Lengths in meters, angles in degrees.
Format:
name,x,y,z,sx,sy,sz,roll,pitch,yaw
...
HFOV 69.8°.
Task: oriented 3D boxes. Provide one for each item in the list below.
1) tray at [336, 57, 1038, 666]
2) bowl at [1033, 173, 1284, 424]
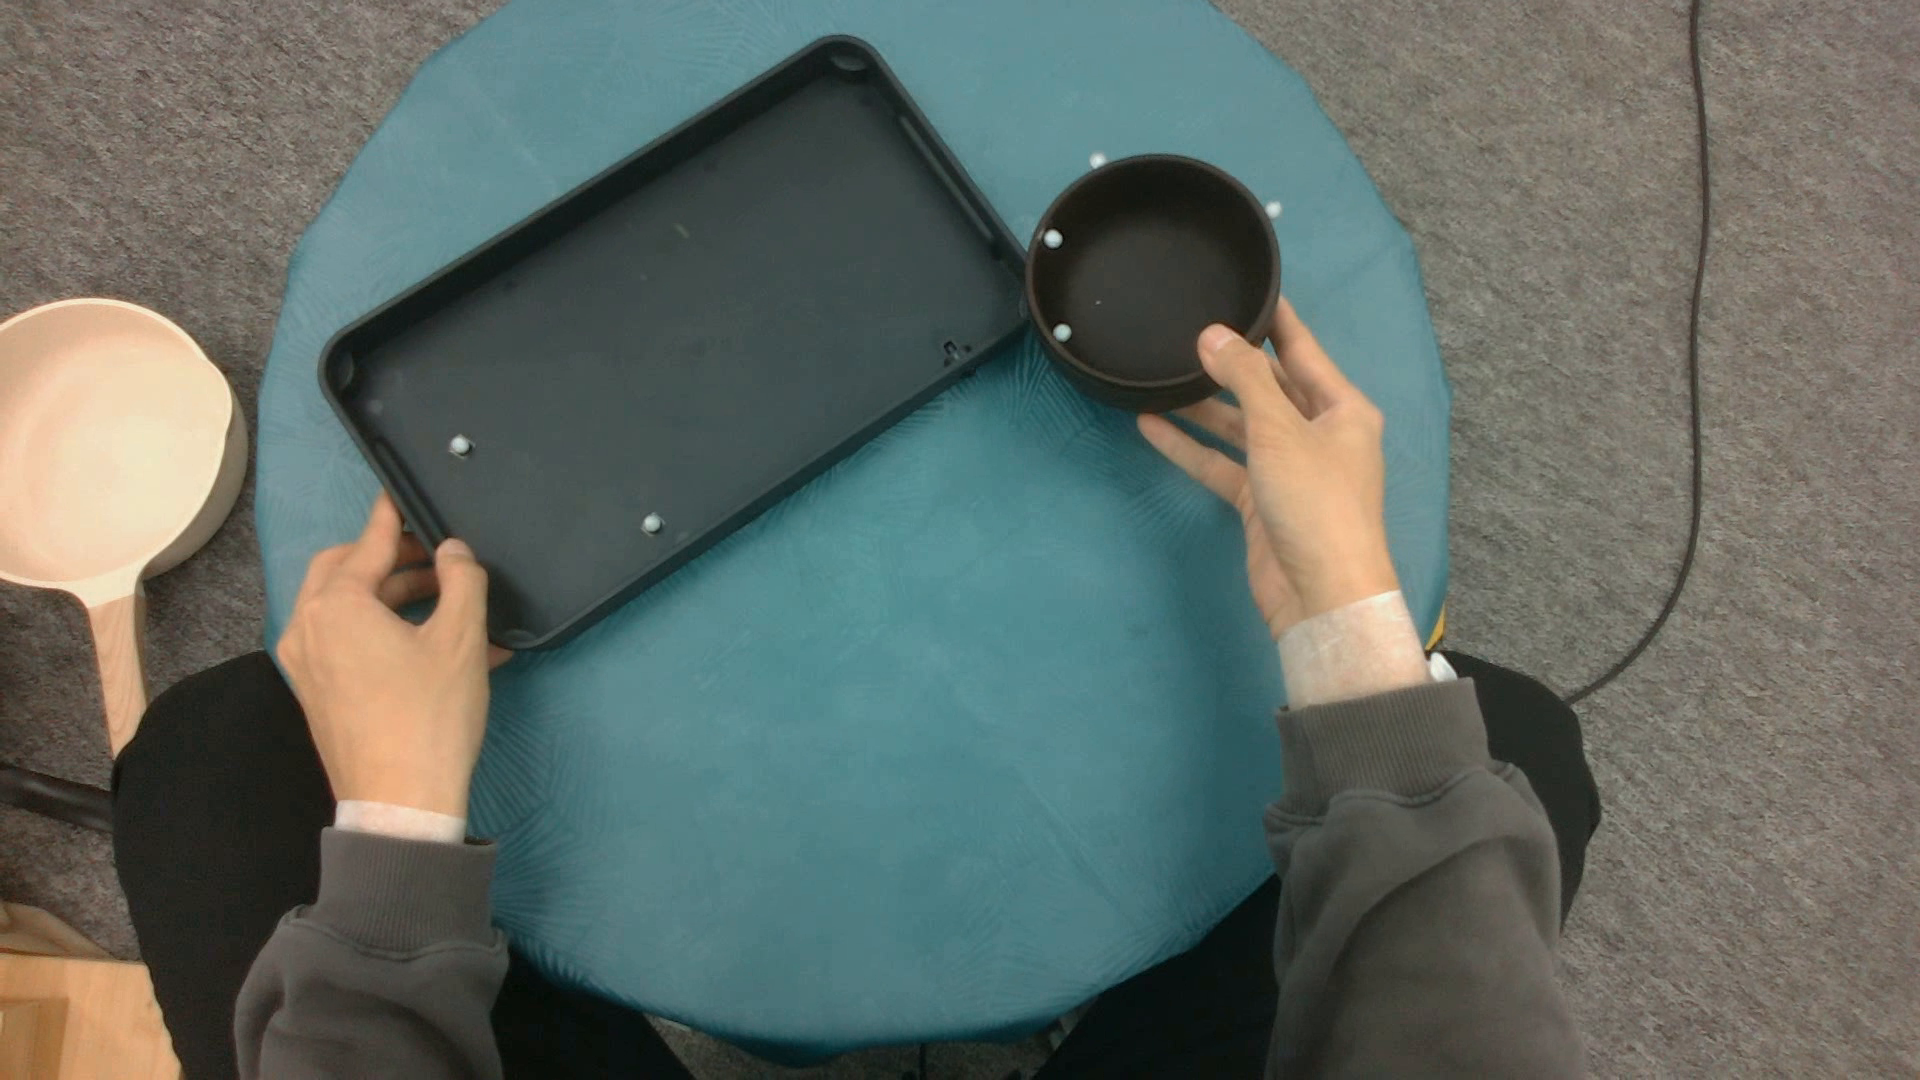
name,x,y,z,sx,sy,sz,roll,pitch,yaw
tray,-0.133,-0.093,0.698,0.318,0.037,0.184,-36,82,-9
bowl,0.096,-0.111,0.672,0.118,0.070,0.118,-2,77,7
